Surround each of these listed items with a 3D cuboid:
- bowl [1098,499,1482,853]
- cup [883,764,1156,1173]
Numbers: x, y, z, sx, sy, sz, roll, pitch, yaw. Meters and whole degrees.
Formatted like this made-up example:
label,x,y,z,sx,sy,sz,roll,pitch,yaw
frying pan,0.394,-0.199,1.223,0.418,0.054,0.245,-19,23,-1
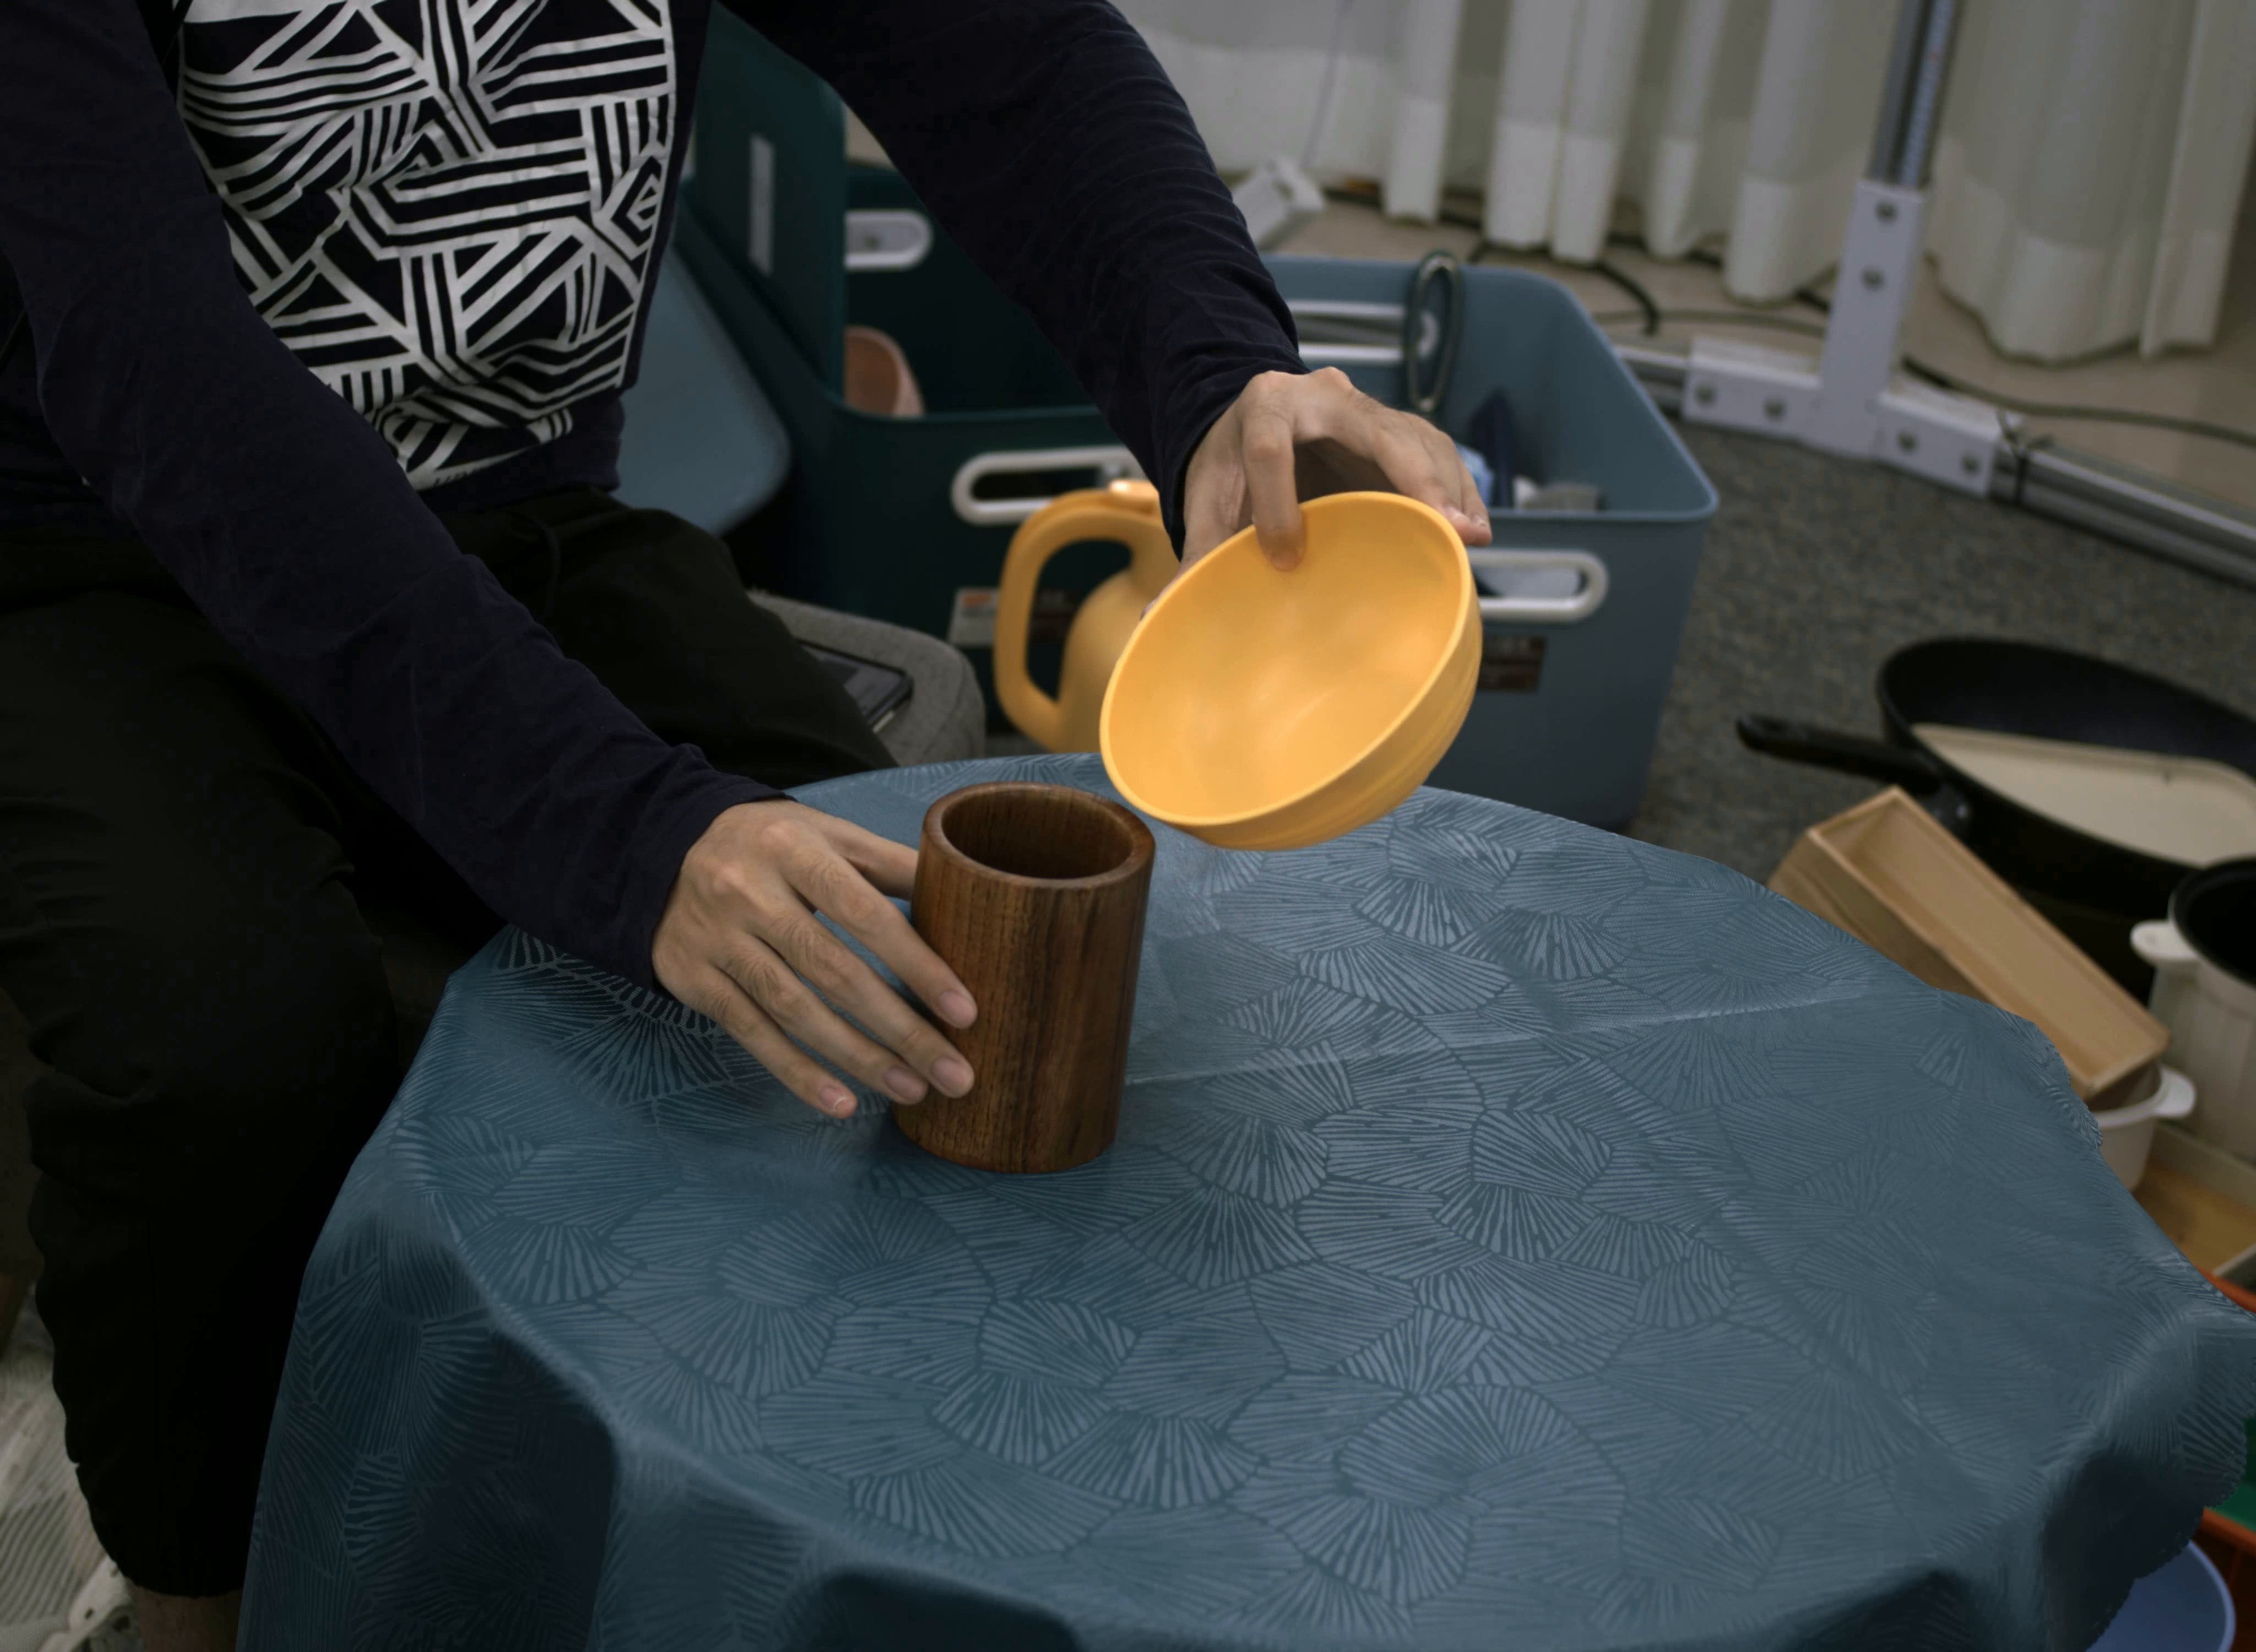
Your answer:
label,x,y,z,sx,sy,sz,roll,pitch,yaw
bowl,0.066,-0.040,1.821,0.145,0.059,0.146,-23,39,20
cup,-0.039,0.048,1.815,0.087,0.118,0.088,7,25,-4
